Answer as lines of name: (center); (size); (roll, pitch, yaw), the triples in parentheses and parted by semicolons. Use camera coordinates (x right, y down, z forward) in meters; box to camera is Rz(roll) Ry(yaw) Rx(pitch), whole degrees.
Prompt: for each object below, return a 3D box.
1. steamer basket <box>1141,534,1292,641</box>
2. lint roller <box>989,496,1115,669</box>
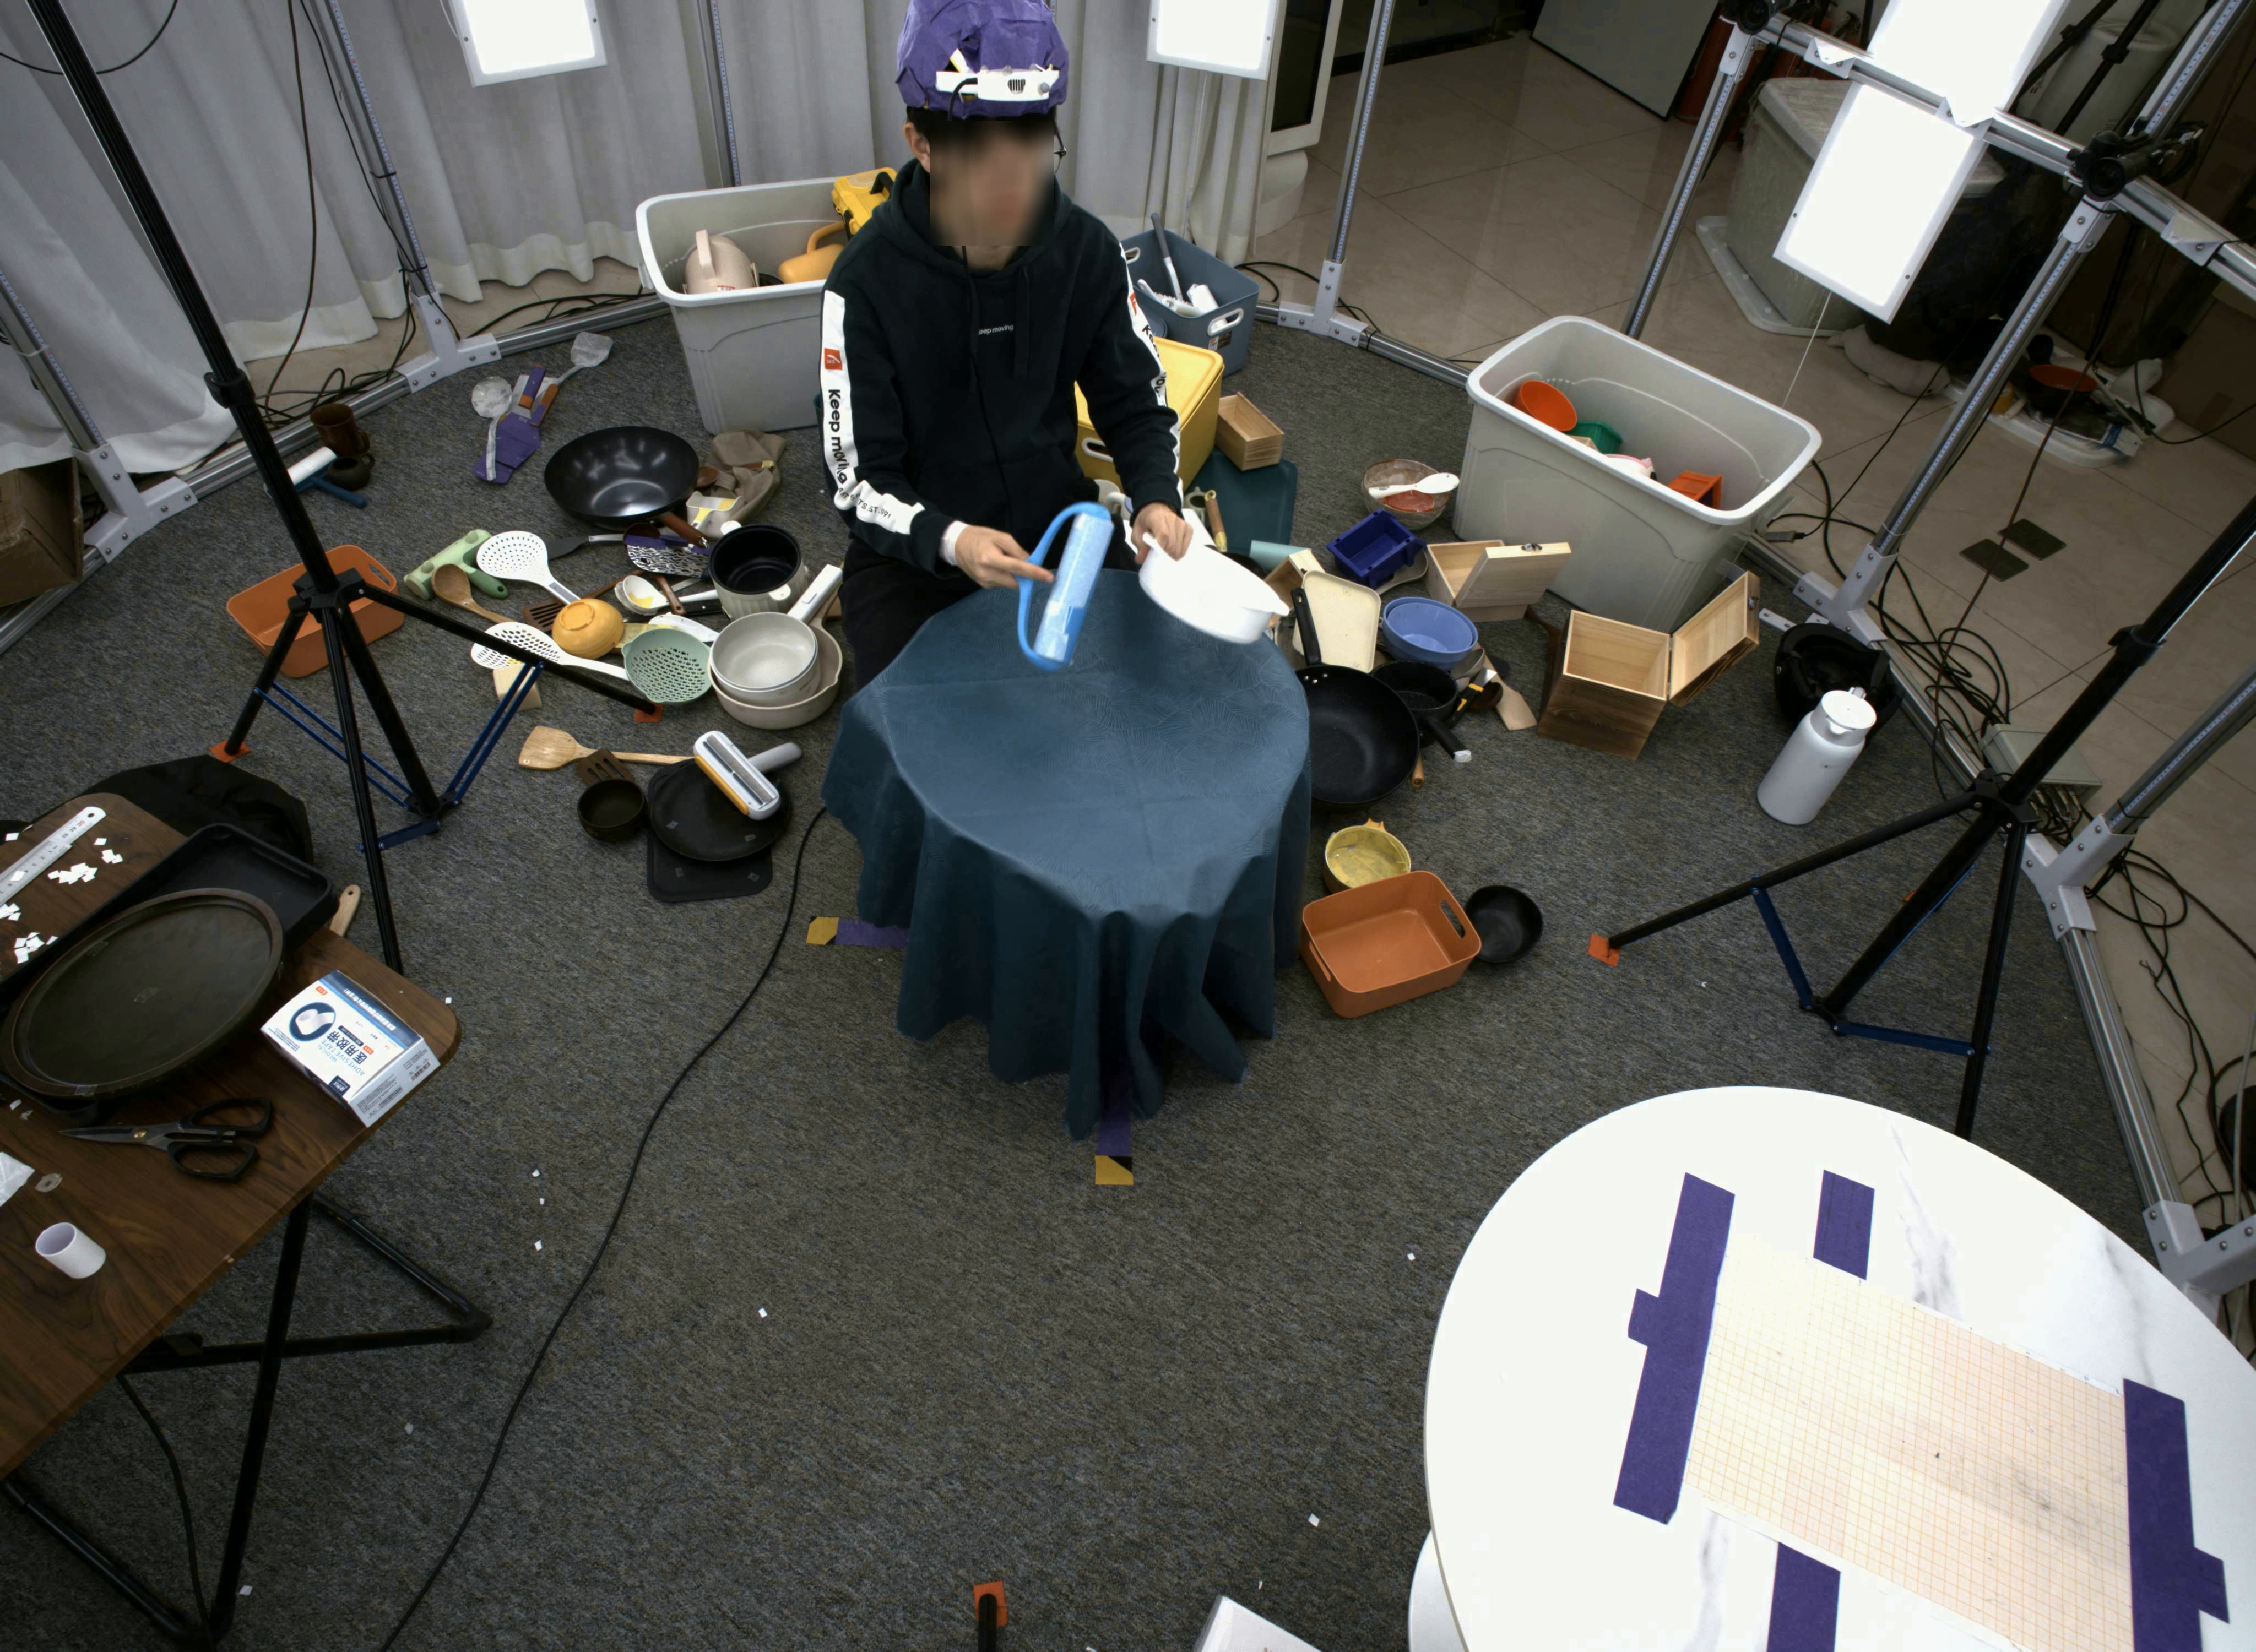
steamer basket: (0.115, -0.330, 1.800); (0.230, 0.068, 0.205); (26, 22, -2)
lint roller: (-0.121, -0.336, 1.720); (0.181, 0.227, 0.068); (16, 9, 22)
